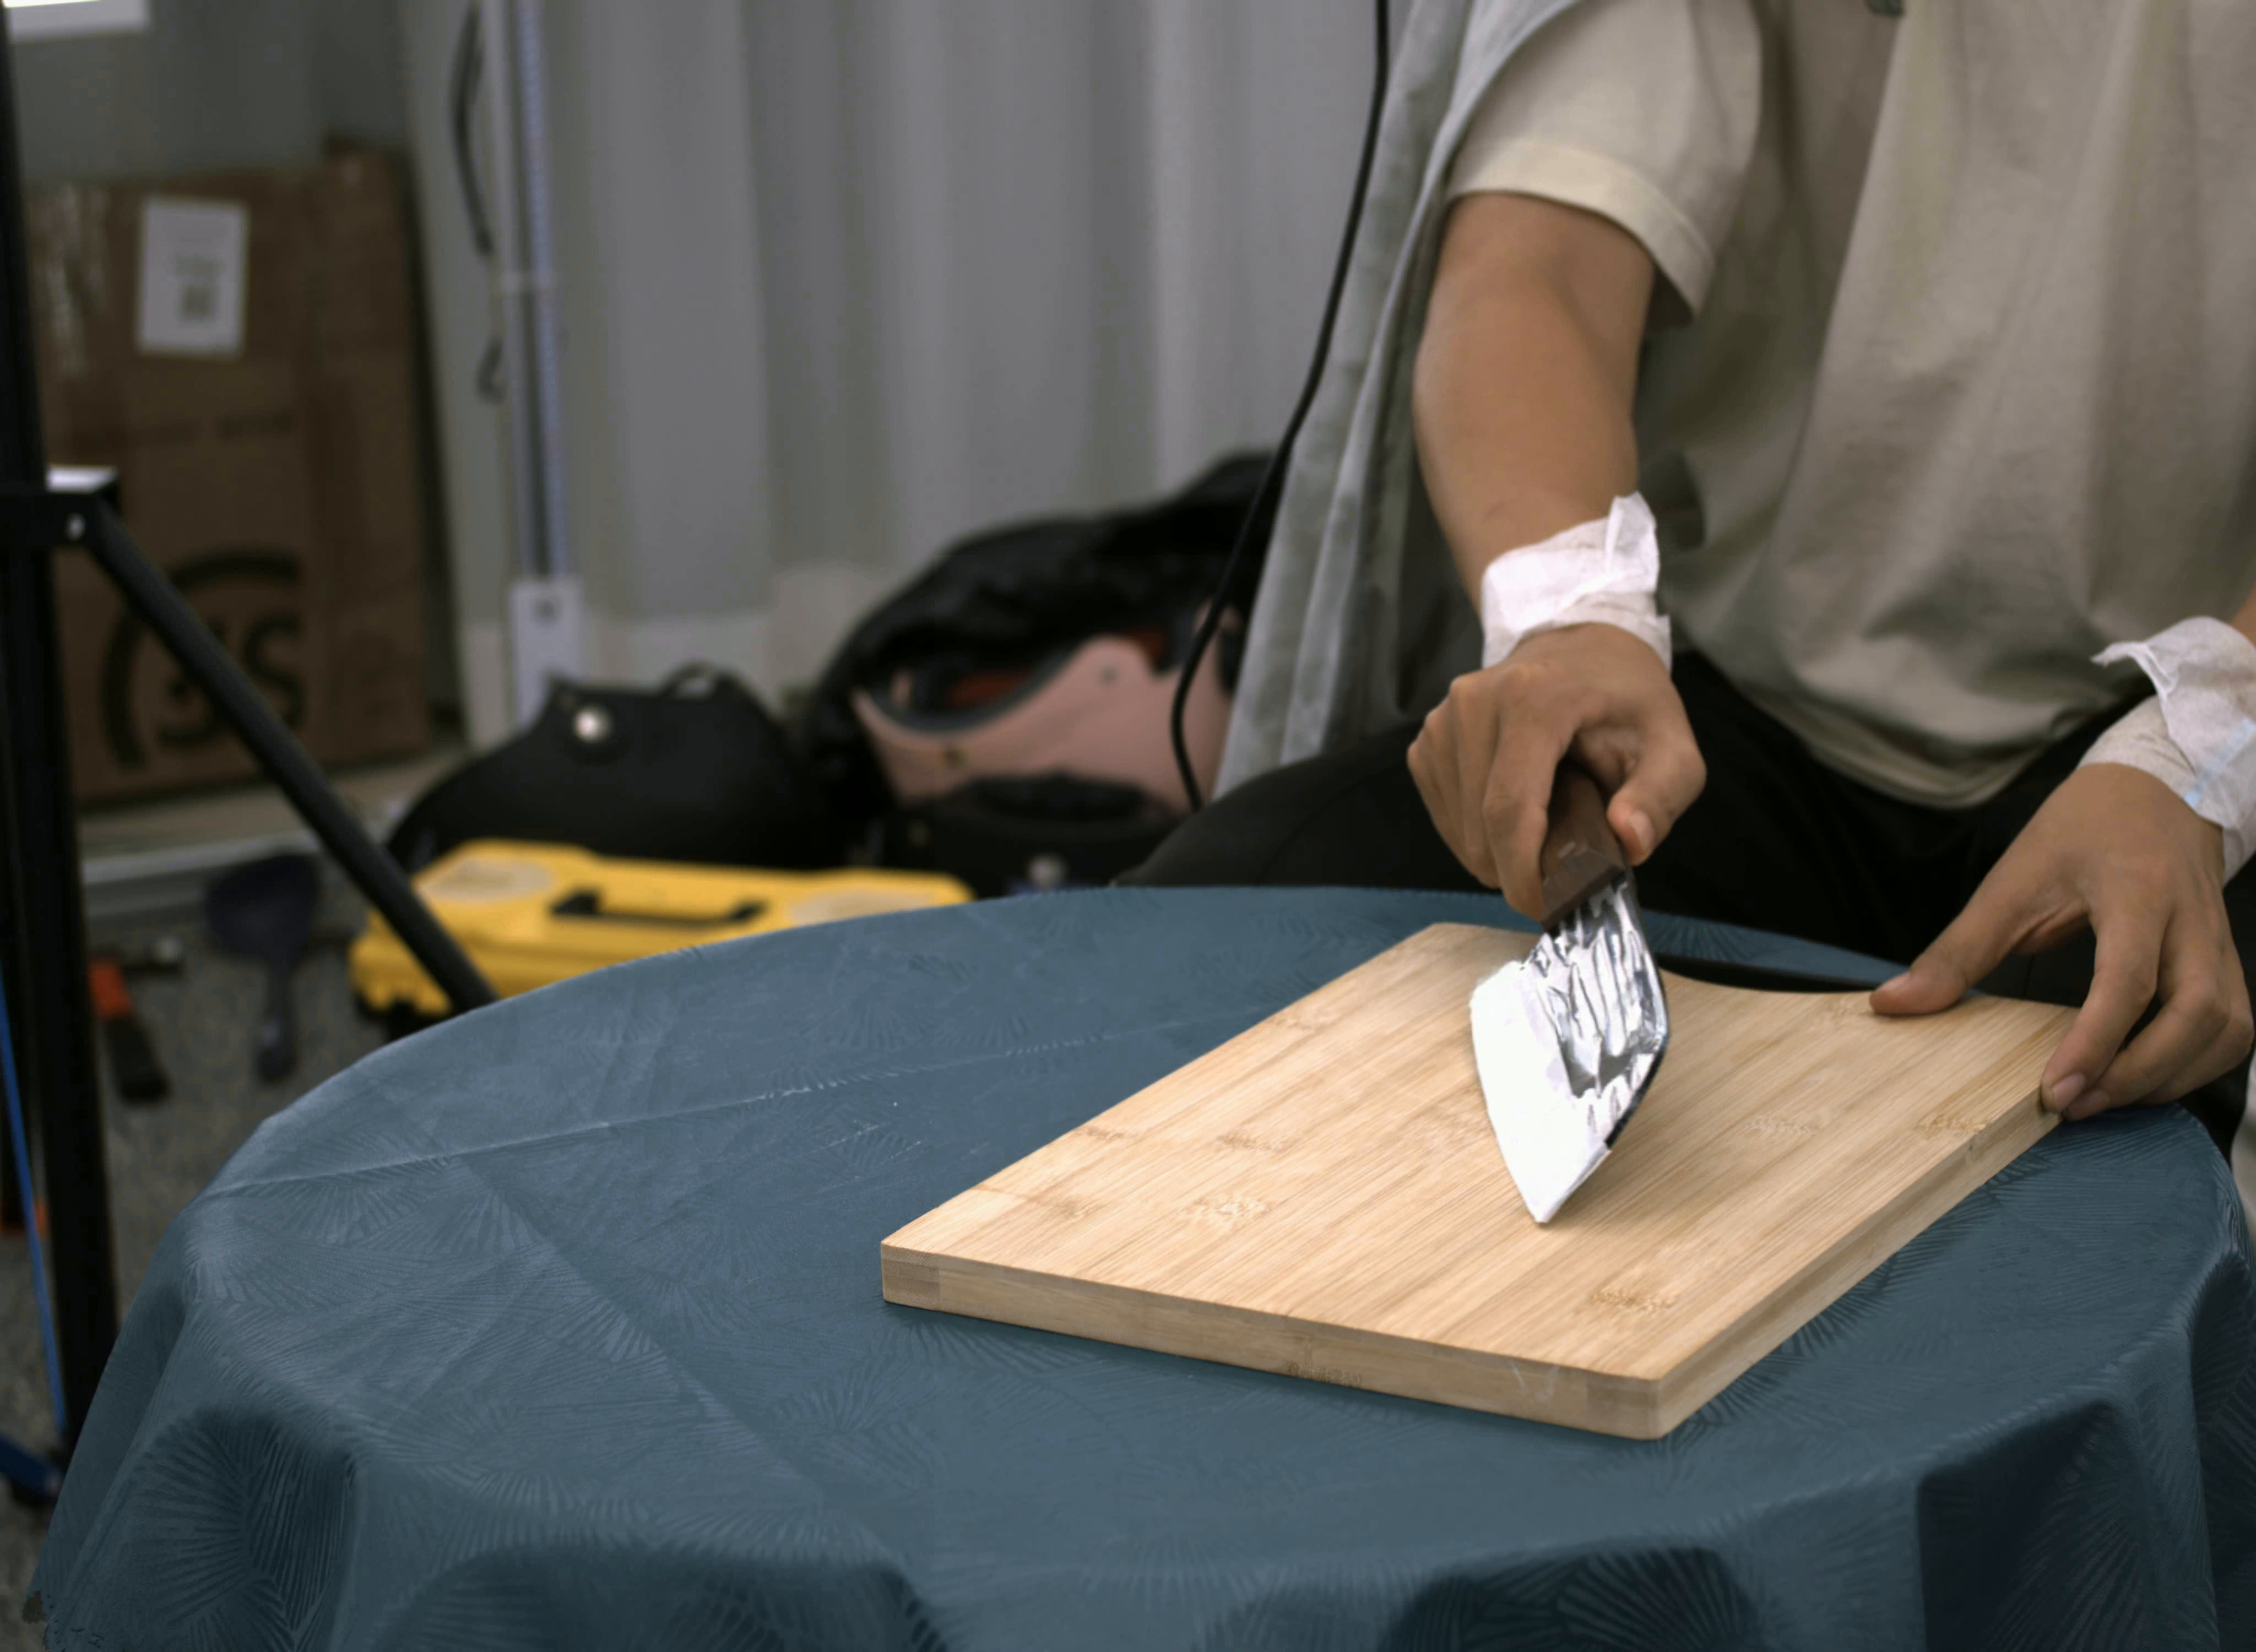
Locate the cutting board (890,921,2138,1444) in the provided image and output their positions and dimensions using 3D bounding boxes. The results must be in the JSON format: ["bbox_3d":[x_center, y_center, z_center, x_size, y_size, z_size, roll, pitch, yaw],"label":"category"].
[{"bbox_3d":[0.122,0.095,1.553,0.255,0.023,0.342,7,18,30],"label":"cutting board"}]

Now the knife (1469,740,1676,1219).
[{"bbox_3d":[0.130,0.043,1.596,0.068,0.024,0.301,-43,15,13],"label":"knife"}]
